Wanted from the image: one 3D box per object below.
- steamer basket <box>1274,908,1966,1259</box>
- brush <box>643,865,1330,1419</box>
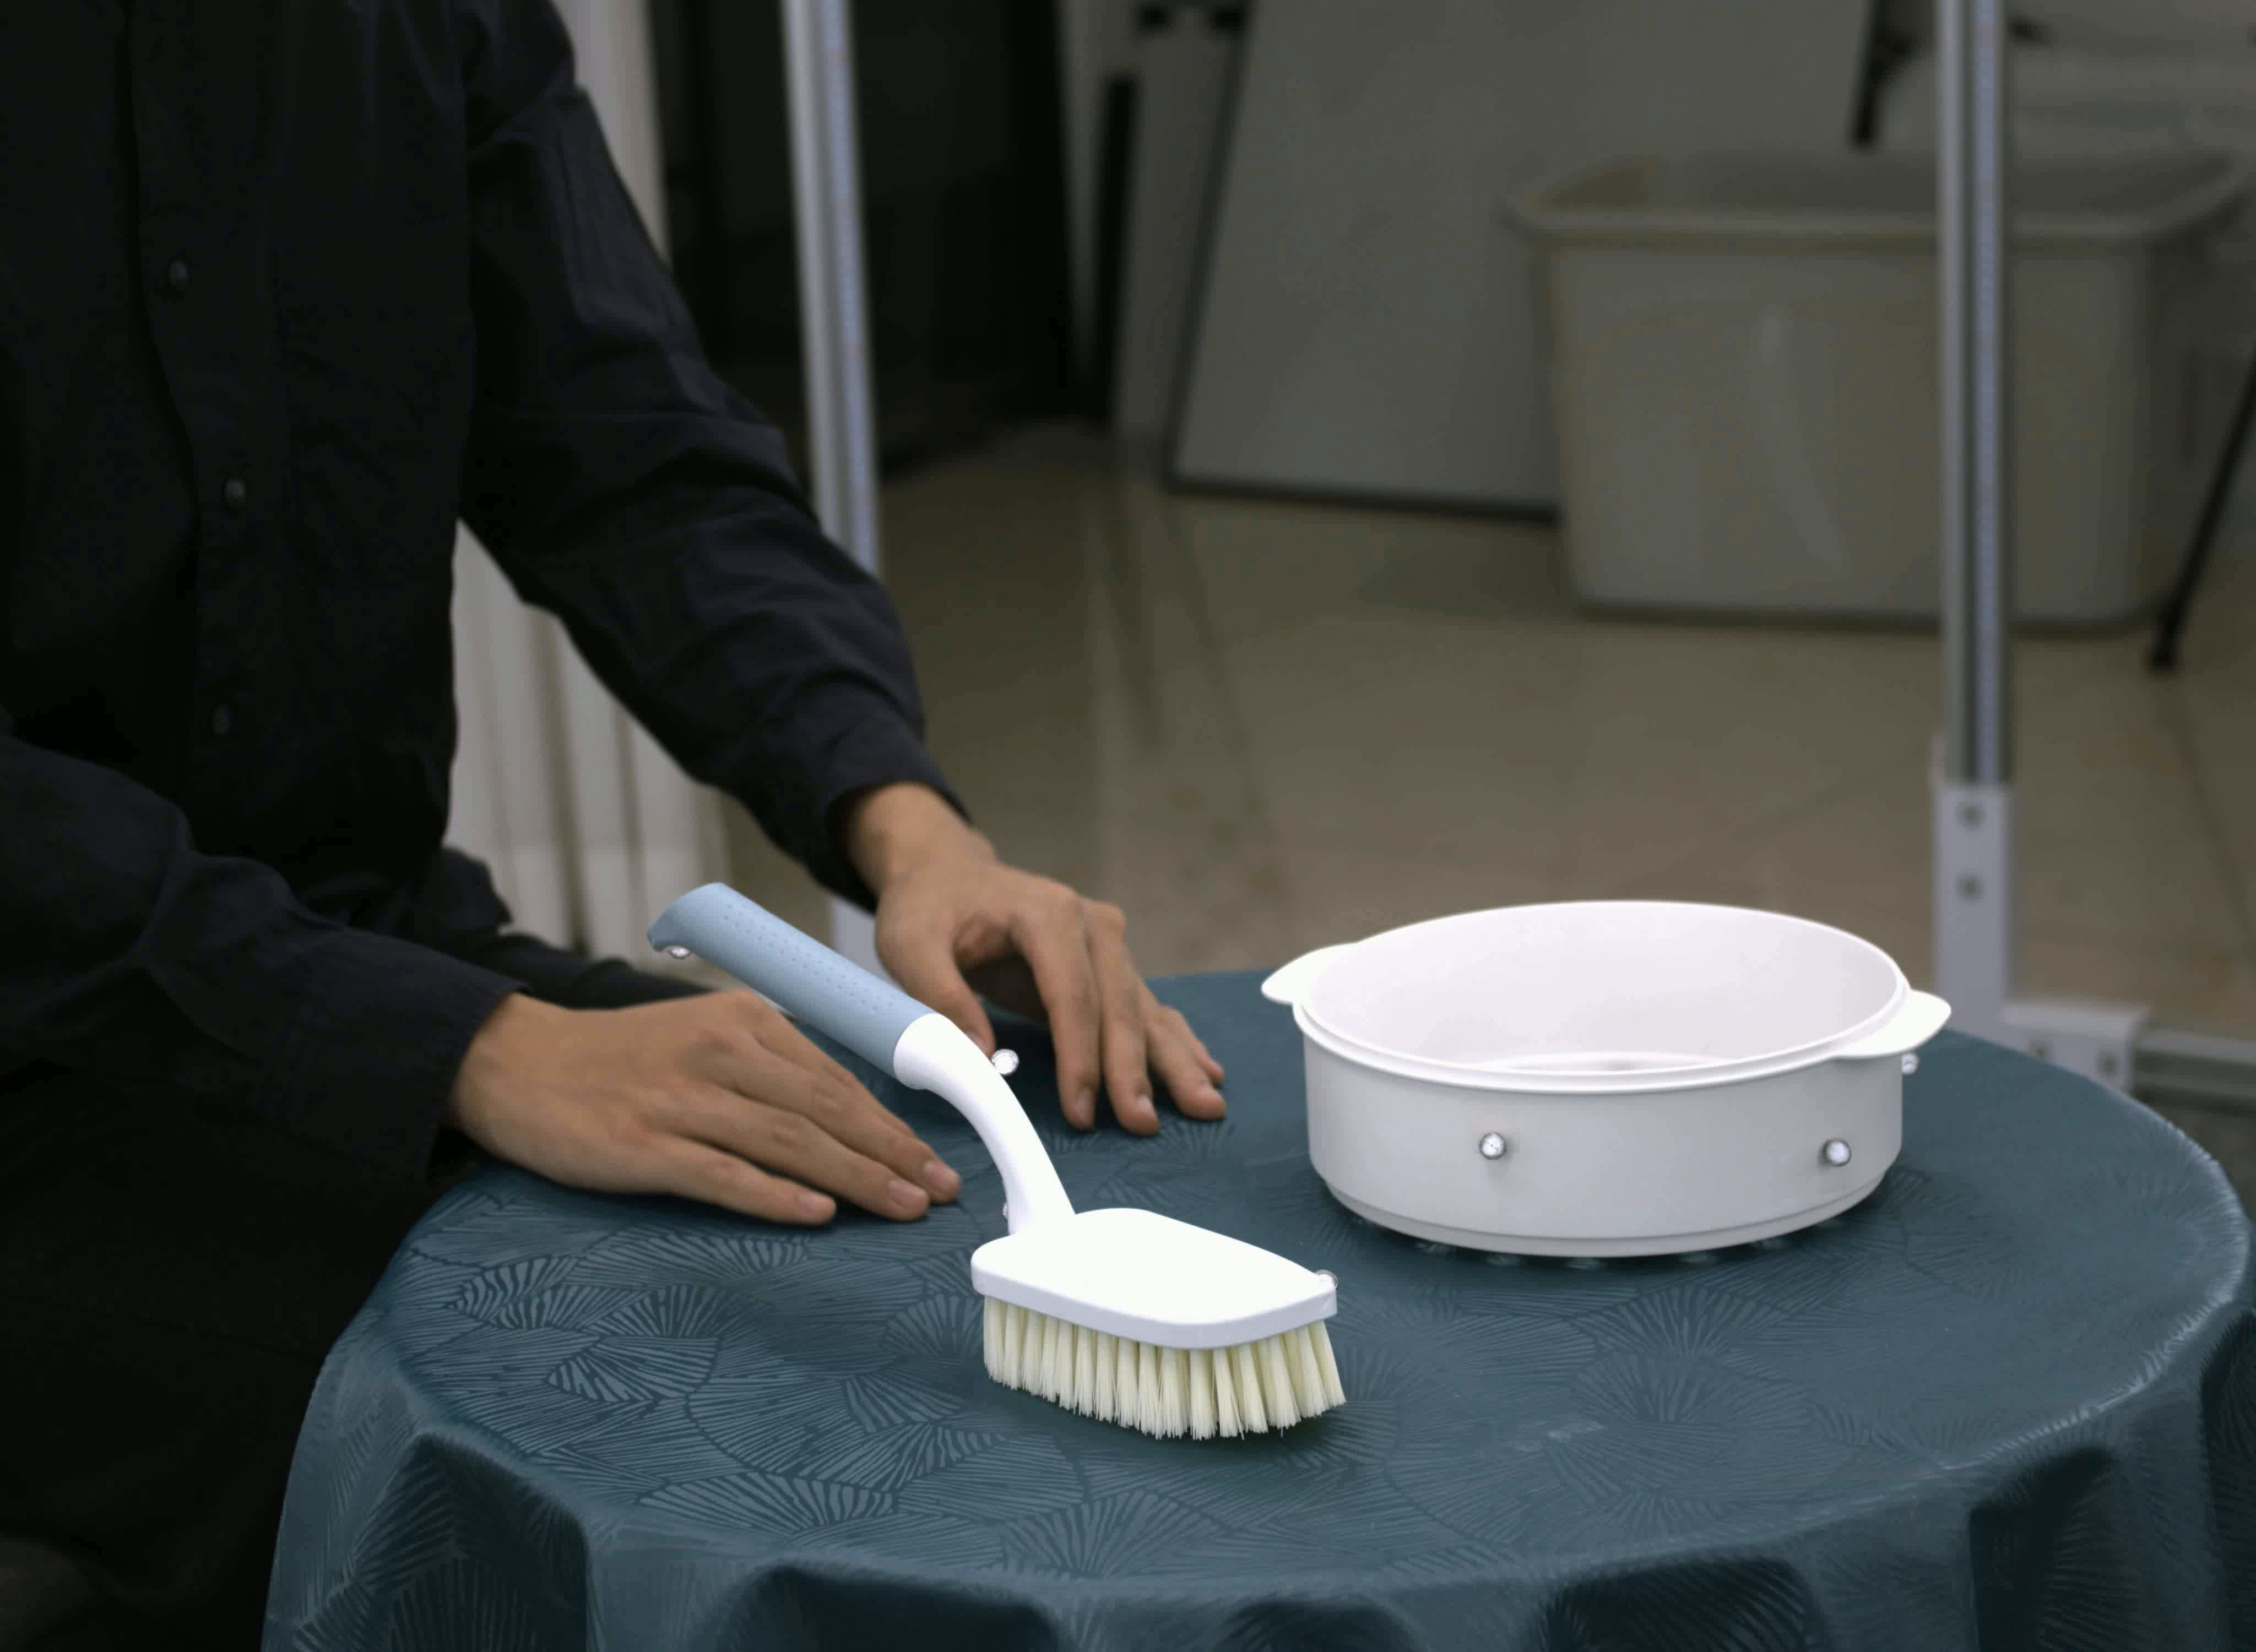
[{"bbox_3d":[0.158,0.083,1.742,0.231,0.070,0.199,4,15,28],"label":"steamer basket"},{"bbox_3d":[-0.049,0.109,1.655,0.329,0.085,0.082,29,-4,45],"label":"brush"}]
